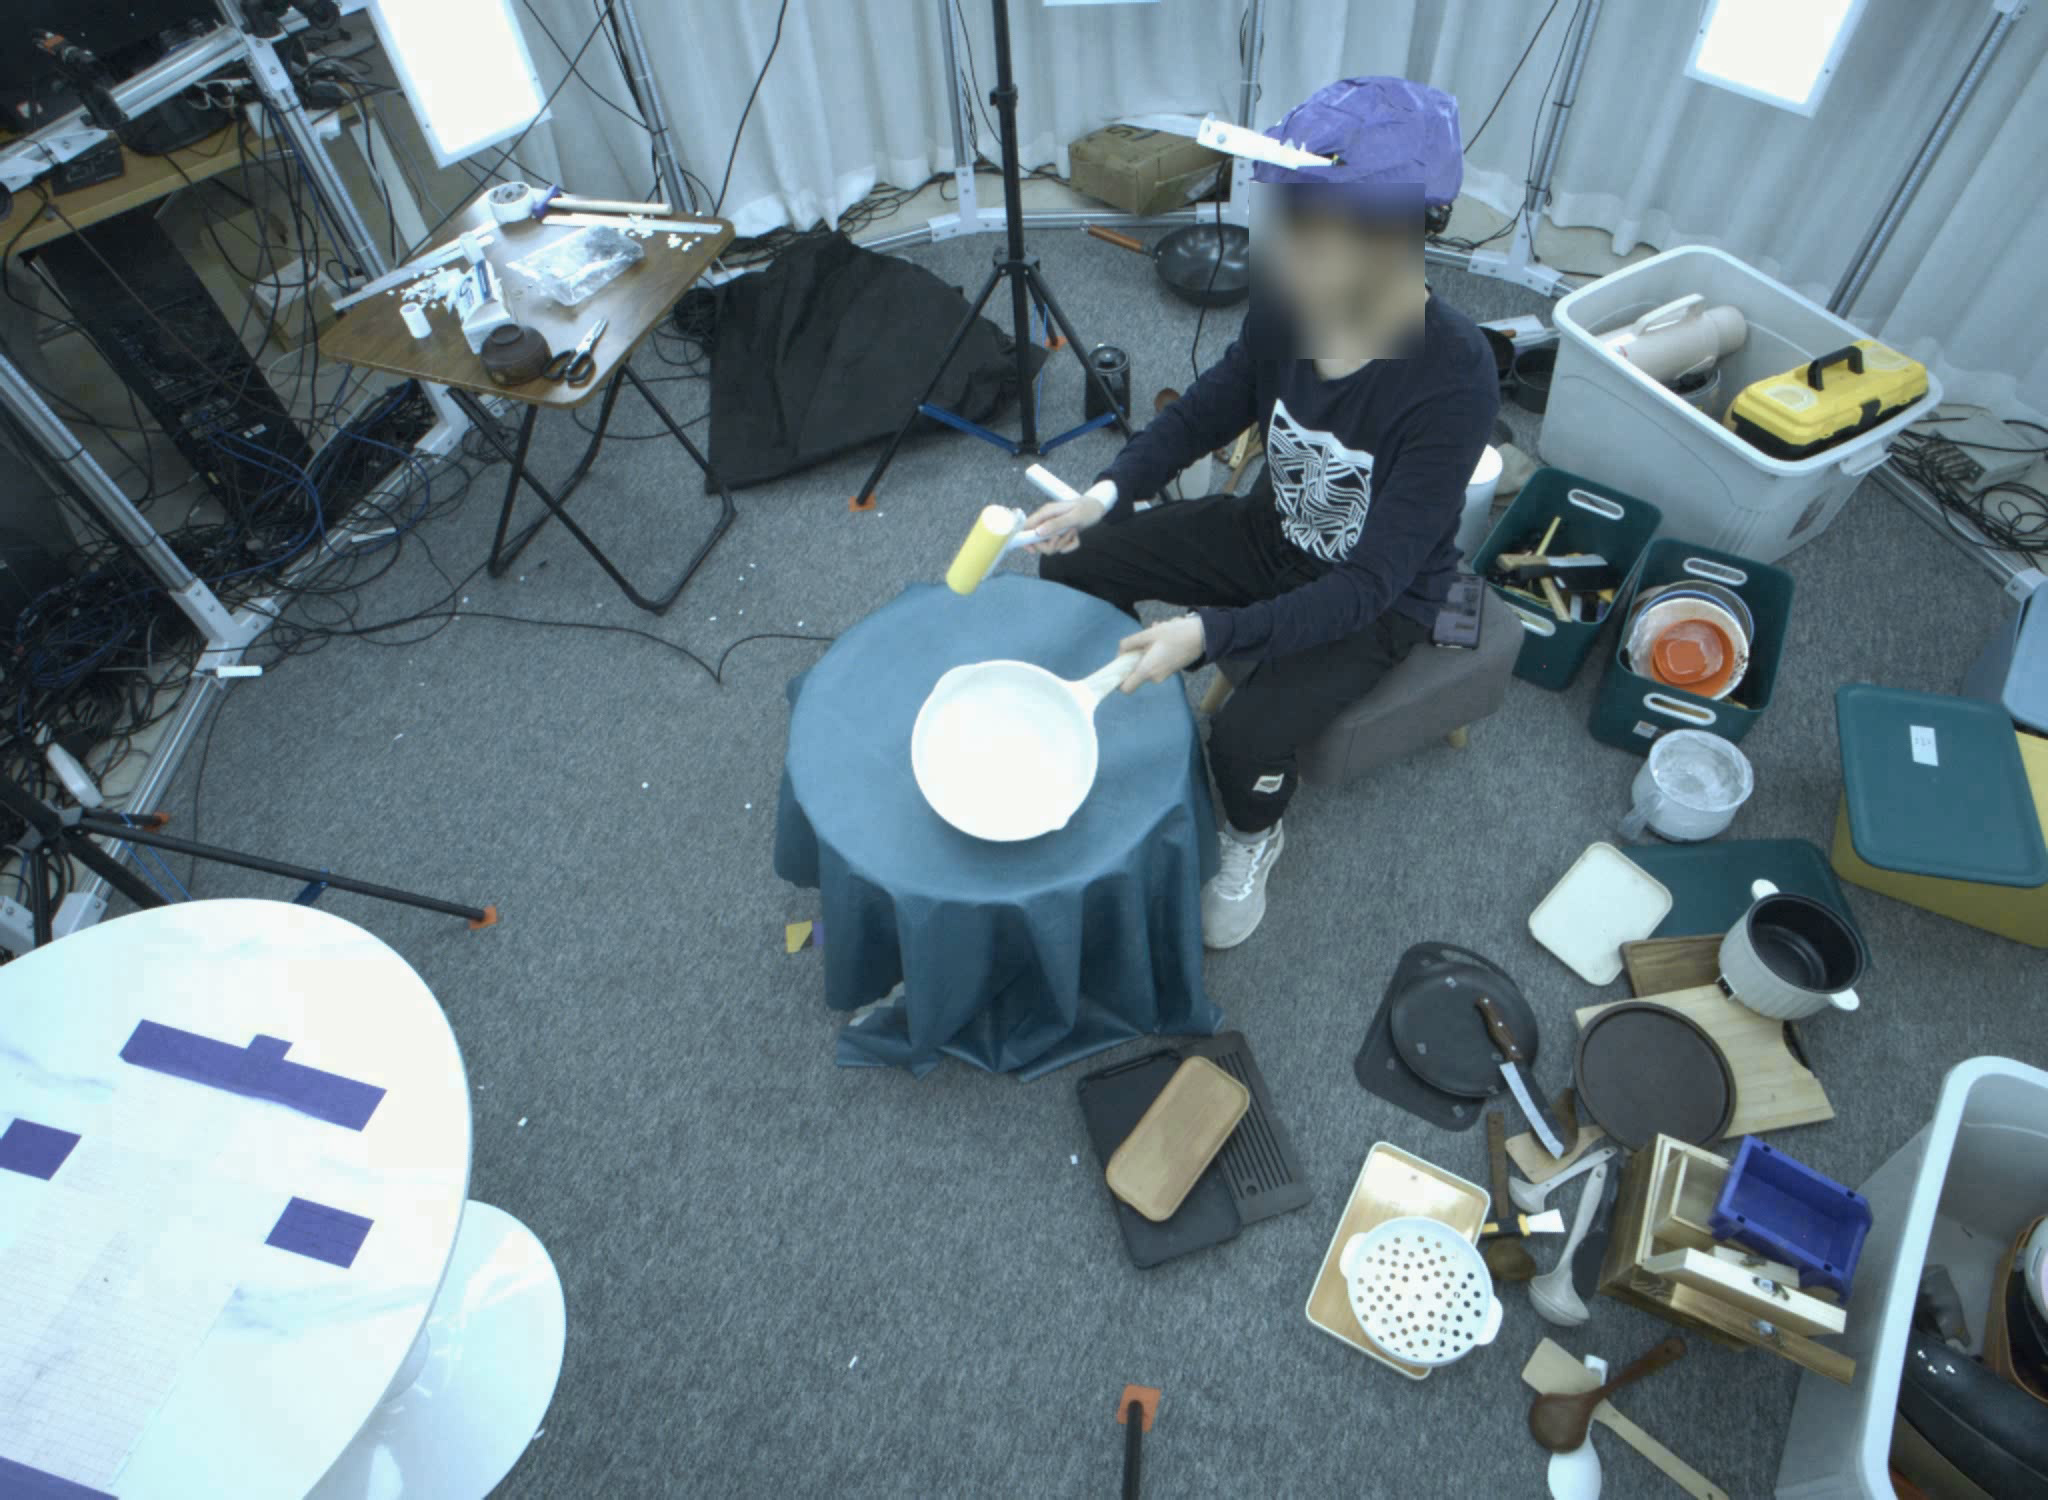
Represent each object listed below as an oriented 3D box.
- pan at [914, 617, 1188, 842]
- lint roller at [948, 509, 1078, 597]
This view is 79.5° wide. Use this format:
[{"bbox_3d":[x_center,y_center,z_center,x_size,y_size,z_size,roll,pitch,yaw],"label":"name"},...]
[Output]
[{"bbox_3d":[0.049,-0.044,1.712,0.437,0.102,0.261,-35,81,-14],"label":"pan"},{"bbox_3d":[-0.006,-0.303,1.763,0.194,0.173,0.051,-30,80,-33],"label":"lint roller"}]
